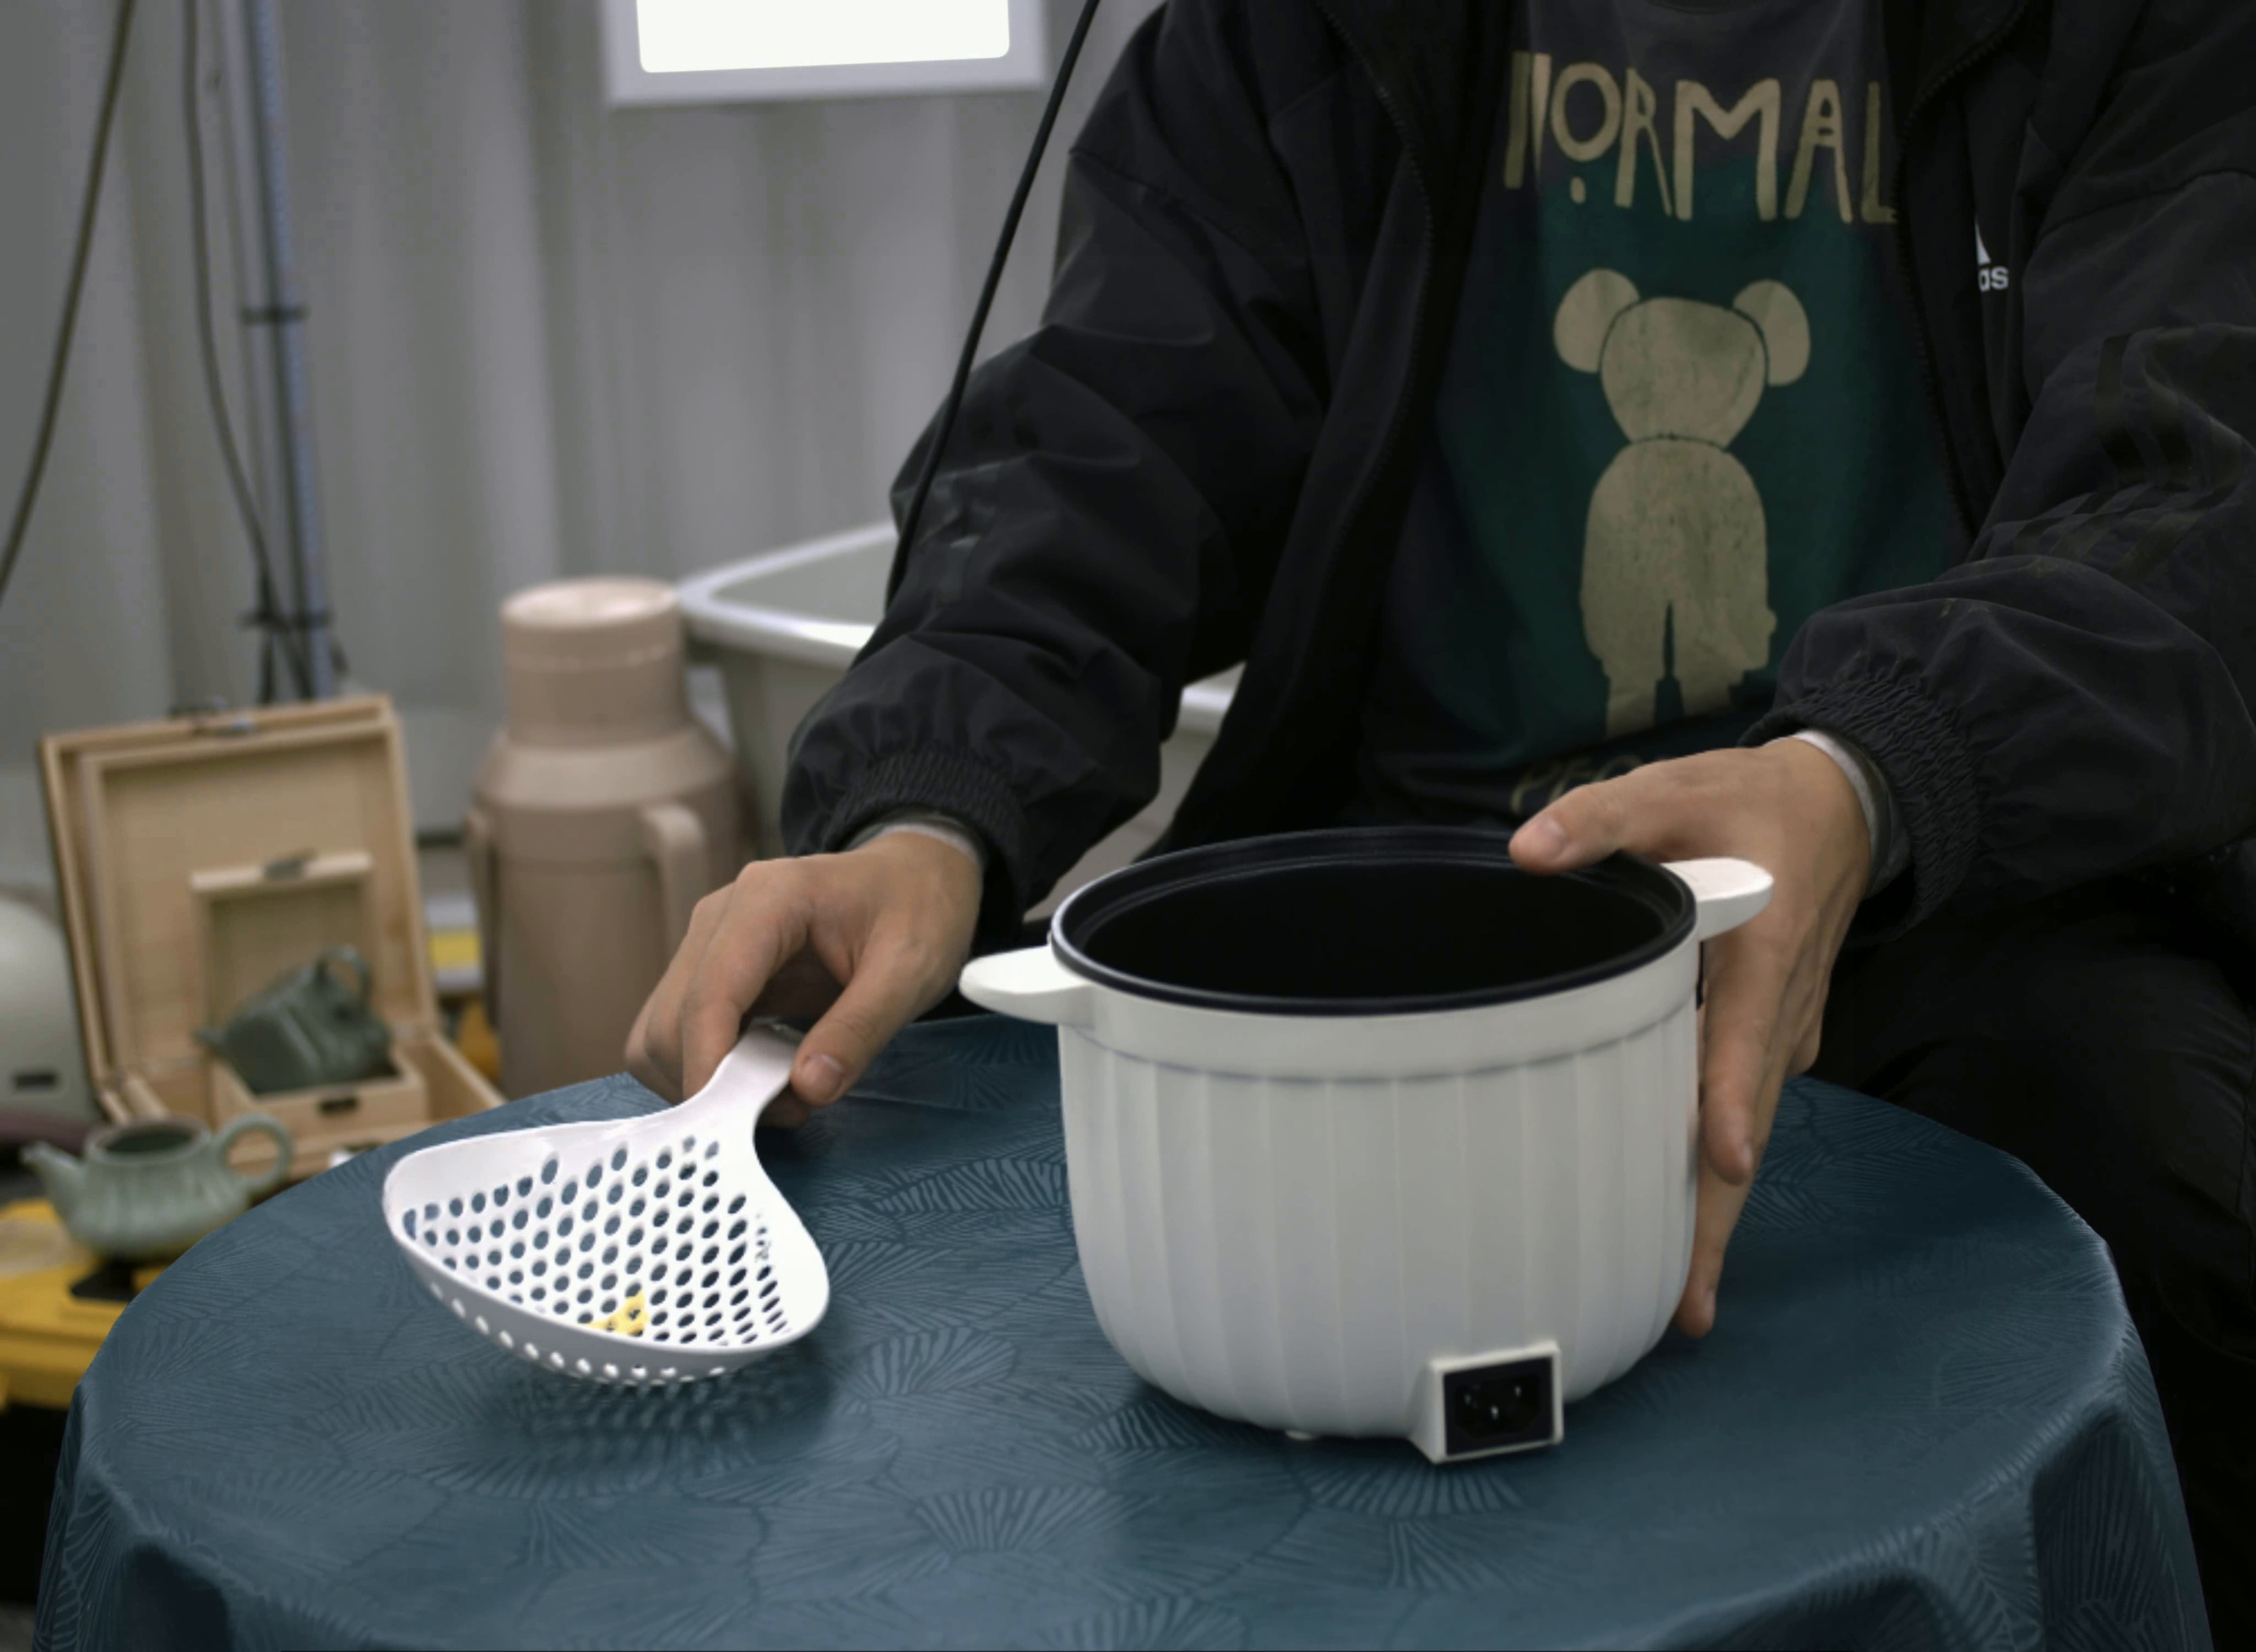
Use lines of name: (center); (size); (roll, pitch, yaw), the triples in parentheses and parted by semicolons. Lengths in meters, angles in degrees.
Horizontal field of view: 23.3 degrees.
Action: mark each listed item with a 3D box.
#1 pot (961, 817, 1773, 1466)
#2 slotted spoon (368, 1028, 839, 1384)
pot: (0.068, 0.086, 1.542); (0.239, 0.142, 0.192); (-6, 18, -17)
slotted spoon: (-0.135, 0.103, 1.681); (0.136, 0.050, 0.350); (16, 19, 6)
